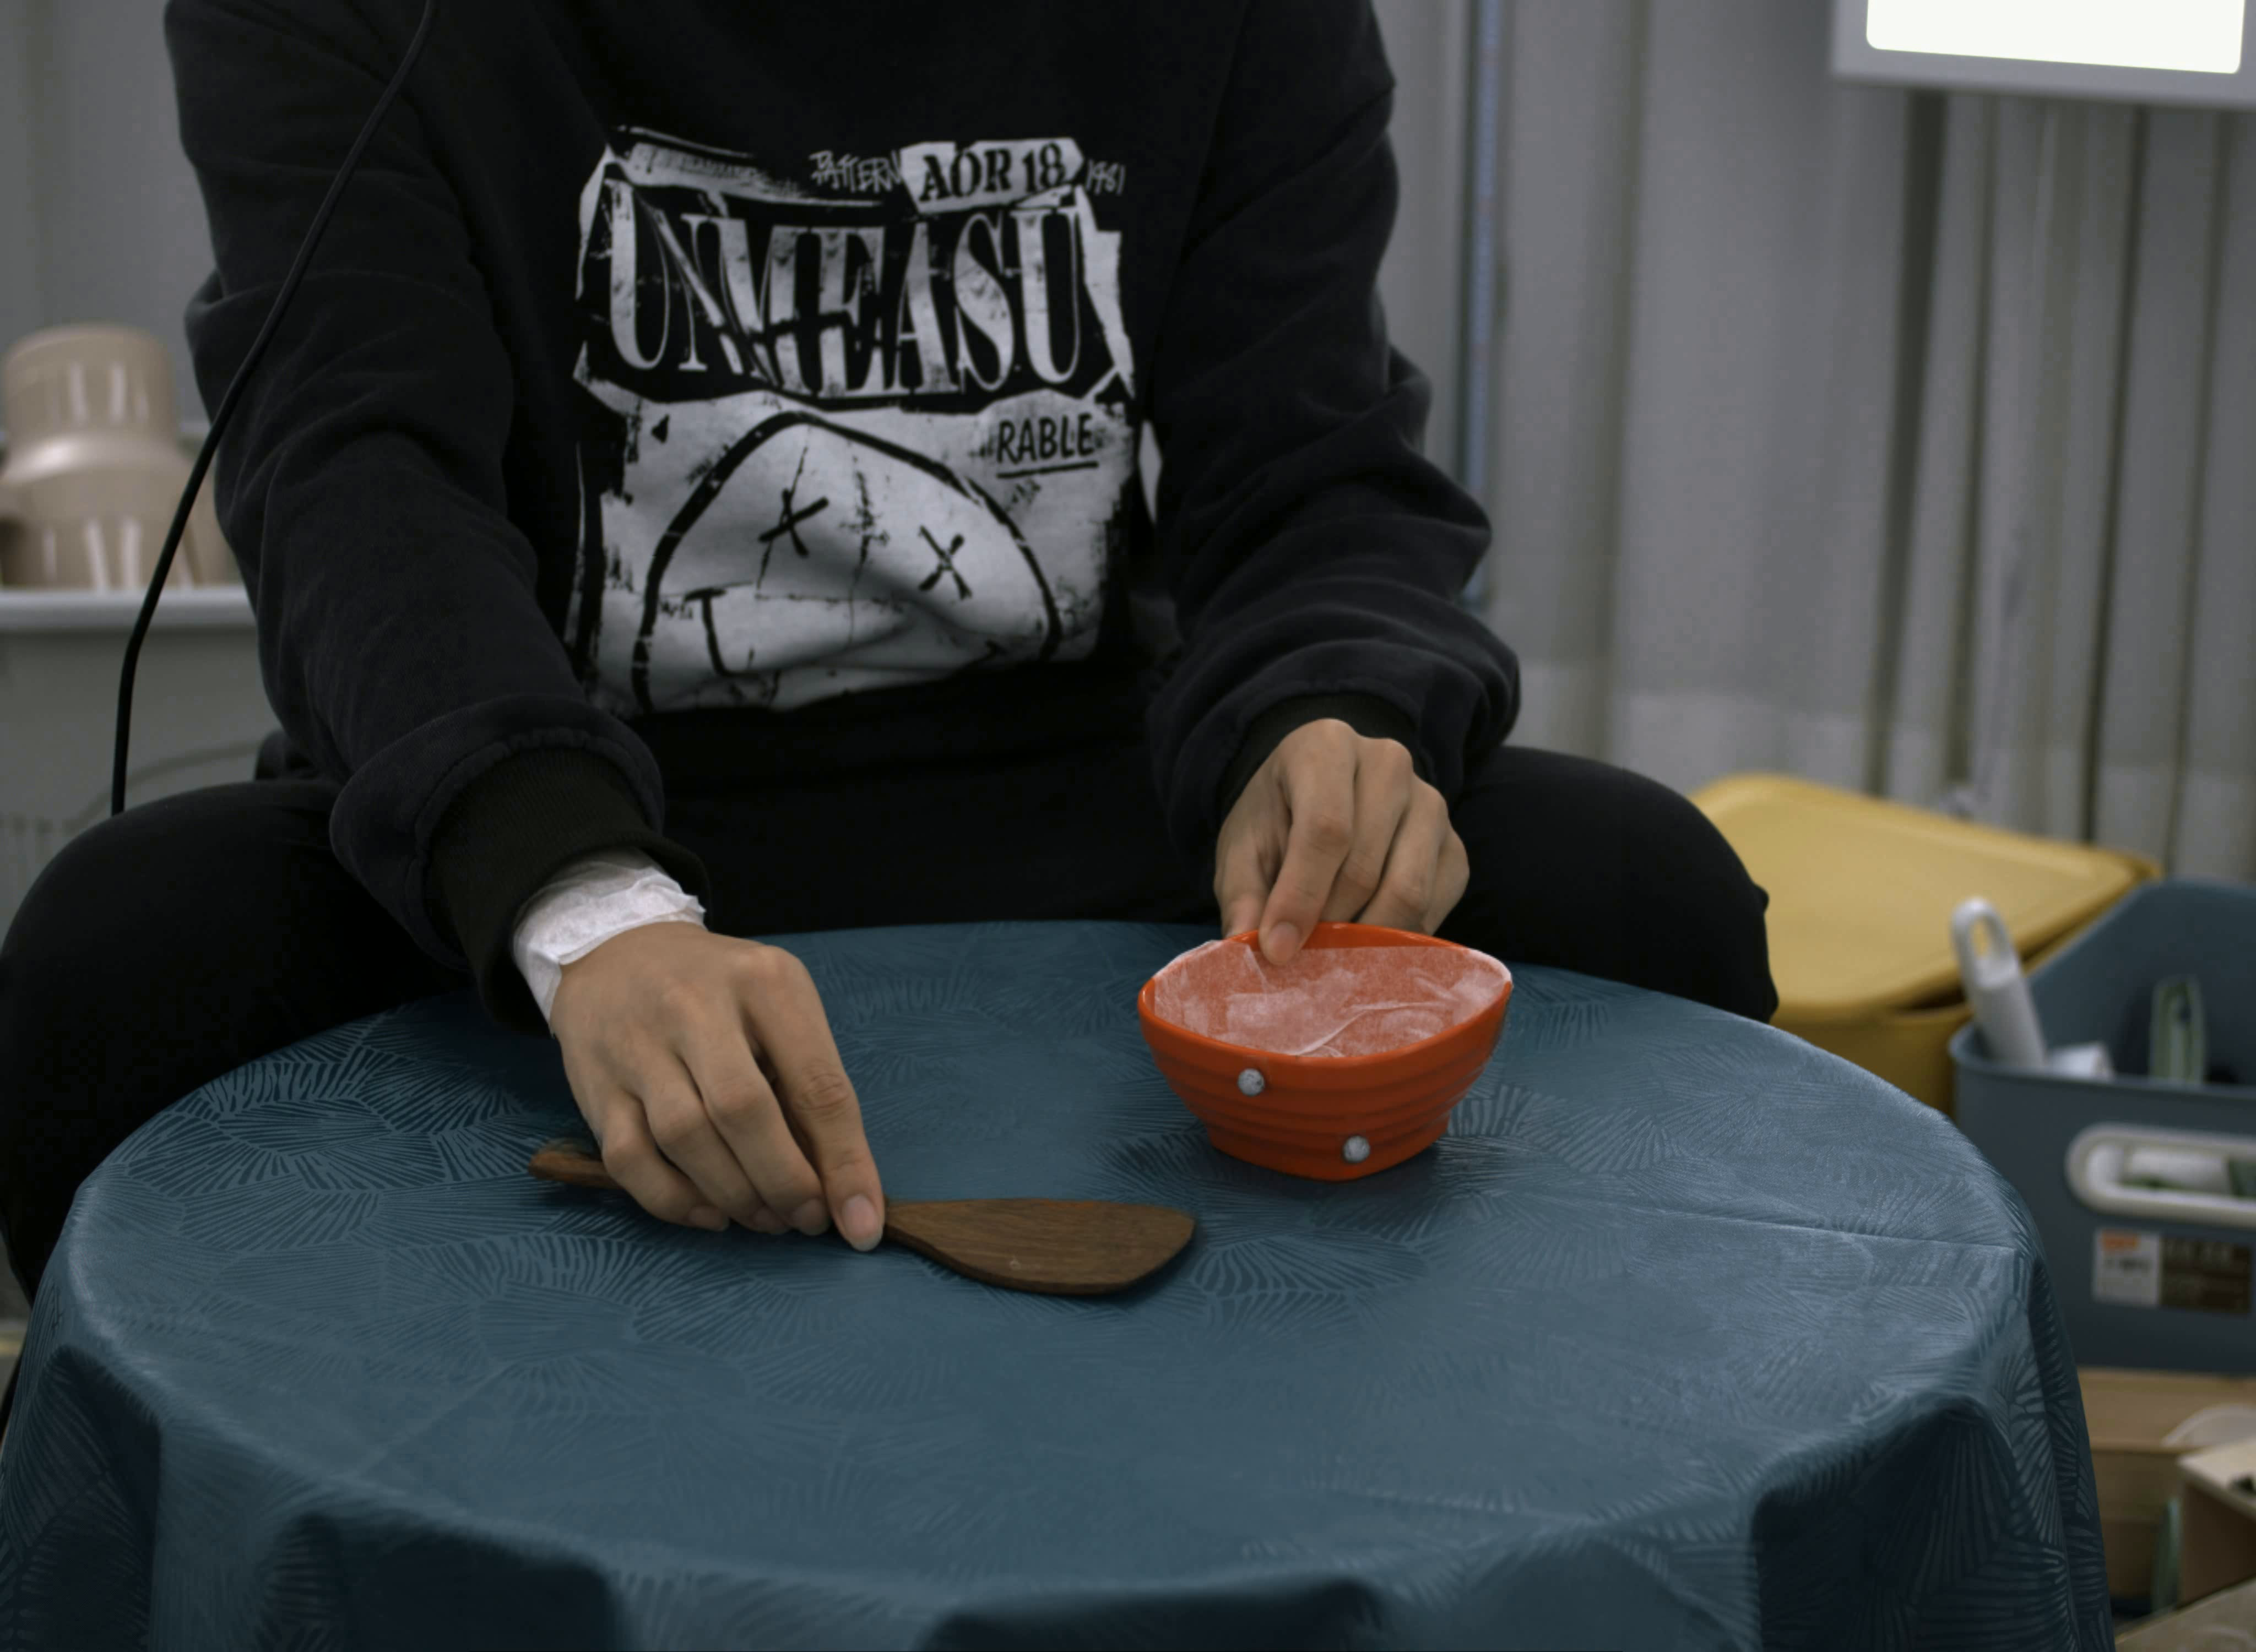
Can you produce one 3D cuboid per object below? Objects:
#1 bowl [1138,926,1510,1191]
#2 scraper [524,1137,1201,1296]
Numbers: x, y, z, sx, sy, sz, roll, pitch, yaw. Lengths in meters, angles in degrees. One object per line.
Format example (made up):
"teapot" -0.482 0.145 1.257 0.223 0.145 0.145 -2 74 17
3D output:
"bowl" 0.064 0.077 1.666 0.118 0.052 0.118 -5 22 3
"scraper" -0.083 0.115 1.589 0.209 0.011 0.076 8 17 17
